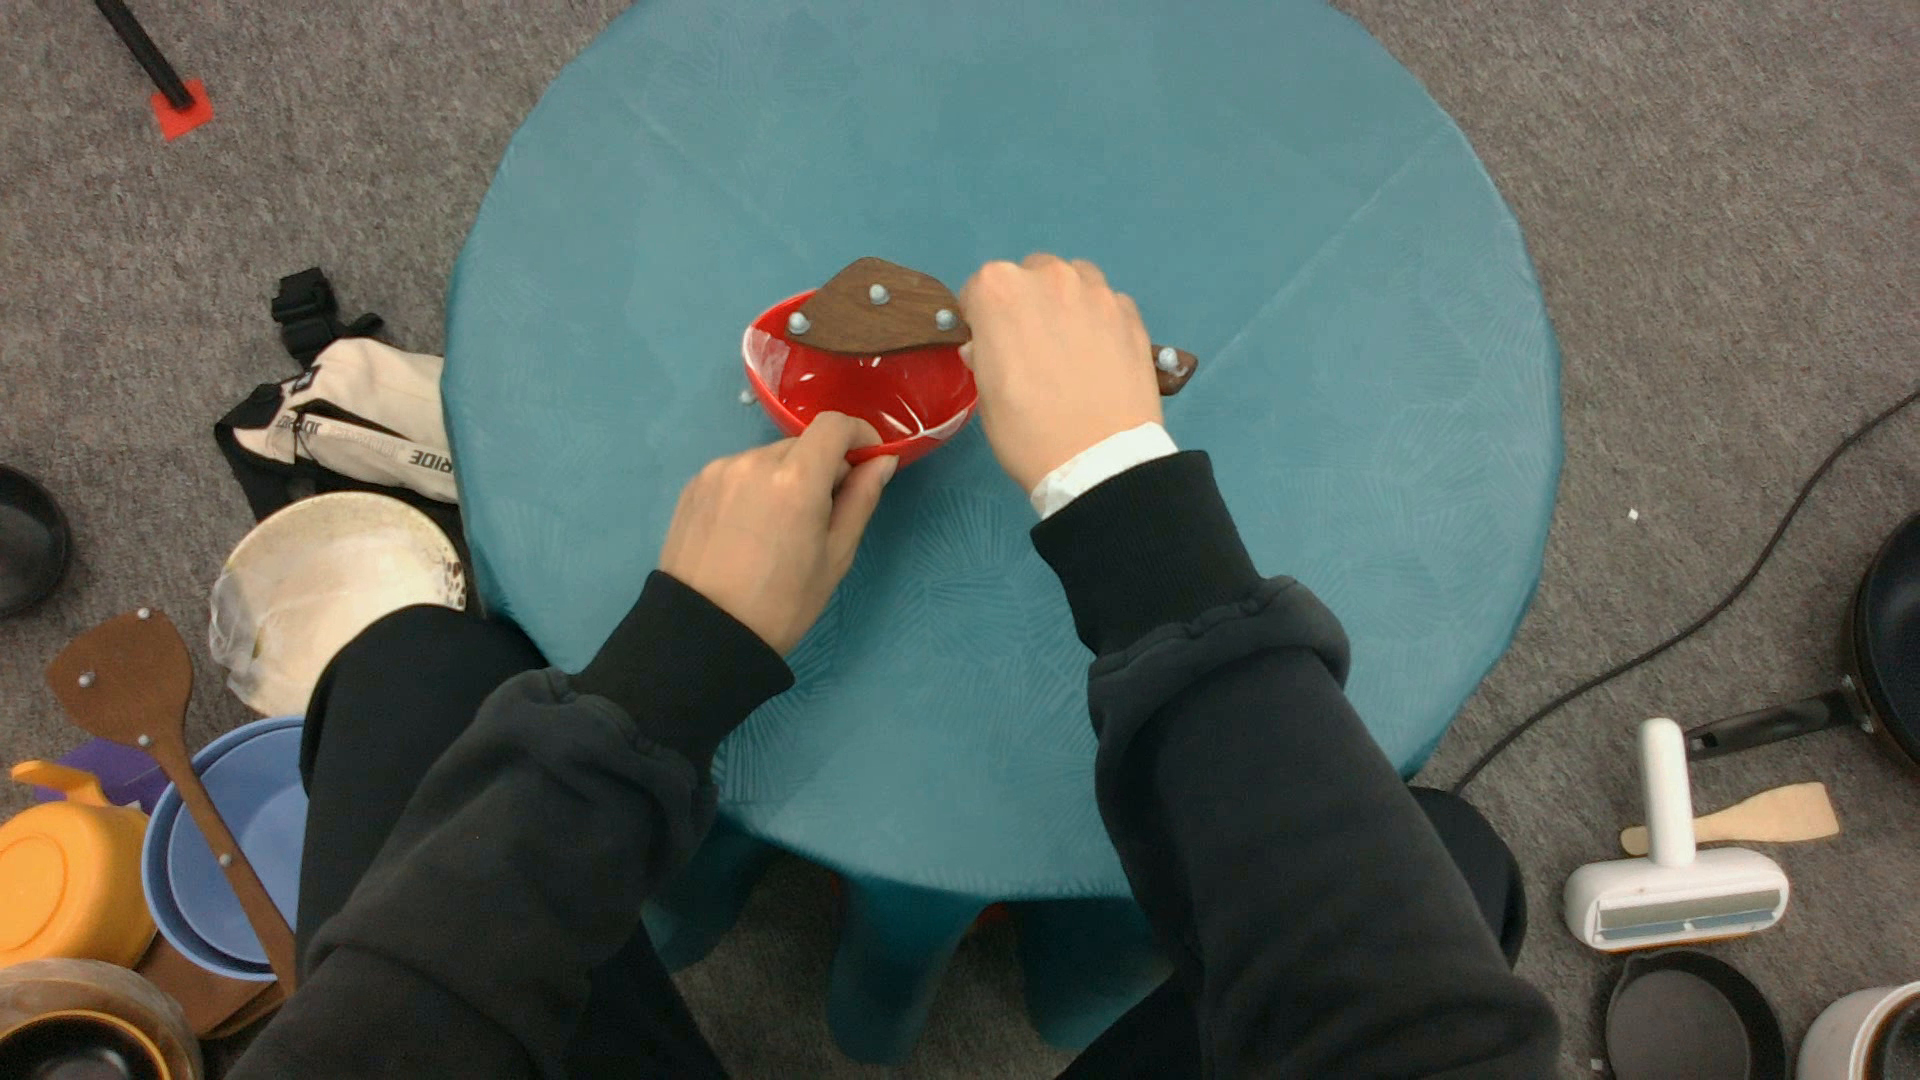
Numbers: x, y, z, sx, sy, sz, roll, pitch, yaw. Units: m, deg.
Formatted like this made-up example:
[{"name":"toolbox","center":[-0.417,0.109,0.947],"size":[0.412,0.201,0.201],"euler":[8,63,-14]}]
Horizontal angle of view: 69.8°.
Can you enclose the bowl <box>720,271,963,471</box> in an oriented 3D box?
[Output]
[{"name":"bowl","center":[-0.061,-0.078,0.683],"size":[0.119,0.051,0.119],"euler":[8,47,-9]}]

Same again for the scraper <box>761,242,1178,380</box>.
[{"name":"scraper","center":[0.003,-0.102,0.637],"size":[0.211,0.011,0.076],"euler":[18,49,31]}]
